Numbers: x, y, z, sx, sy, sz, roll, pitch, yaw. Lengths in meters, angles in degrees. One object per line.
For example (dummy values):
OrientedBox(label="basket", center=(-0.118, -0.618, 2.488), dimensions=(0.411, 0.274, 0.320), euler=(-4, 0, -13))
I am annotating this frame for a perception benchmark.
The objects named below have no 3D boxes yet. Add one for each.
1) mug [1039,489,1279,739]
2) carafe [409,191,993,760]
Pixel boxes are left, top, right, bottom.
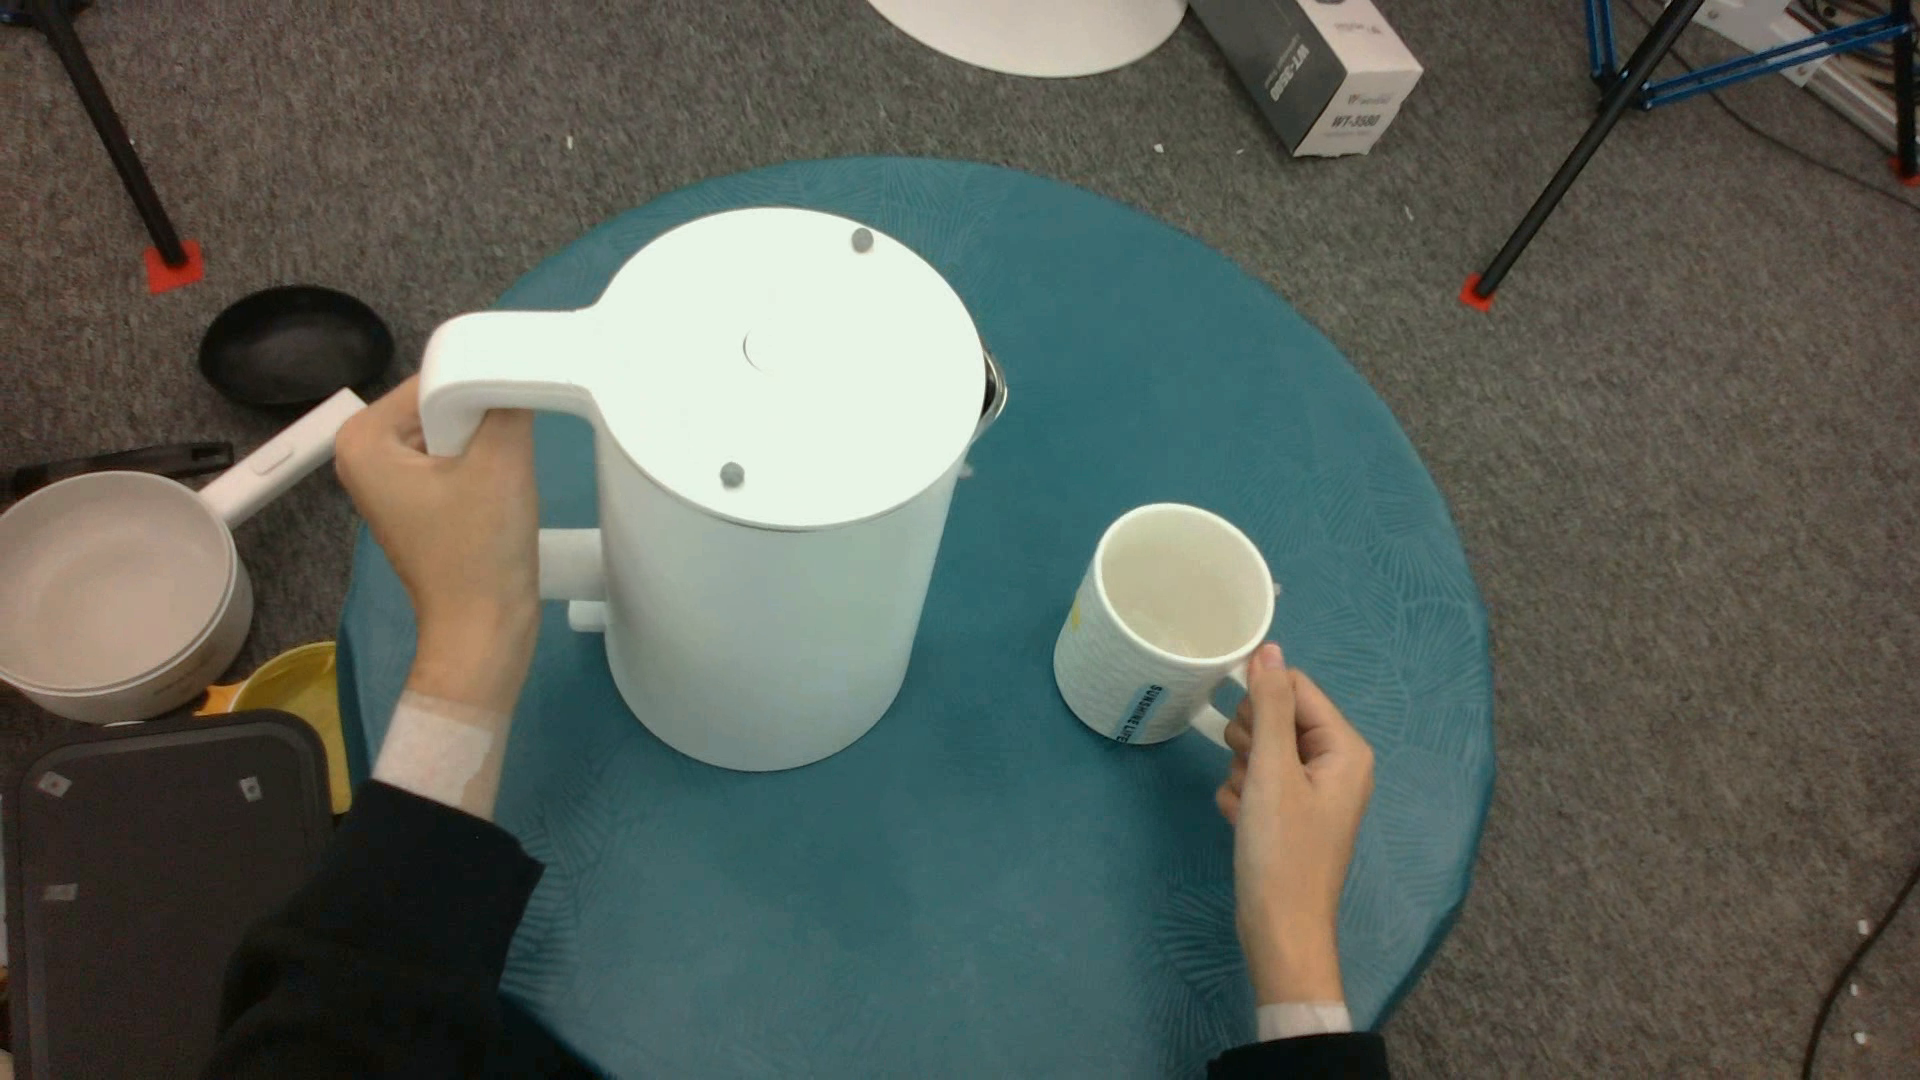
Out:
OrientedBox(label="mug", center=(0.100, 0.048, 0.671), dimensions=(0.085, 0.101, 0.118), euler=(-36, 72, -28))
OrientedBox(label="carafe", center=(-0.112, -0.020, 0.591), dimensions=(0.213, 0.239, 0.152), euler=(2, 59, -12))
